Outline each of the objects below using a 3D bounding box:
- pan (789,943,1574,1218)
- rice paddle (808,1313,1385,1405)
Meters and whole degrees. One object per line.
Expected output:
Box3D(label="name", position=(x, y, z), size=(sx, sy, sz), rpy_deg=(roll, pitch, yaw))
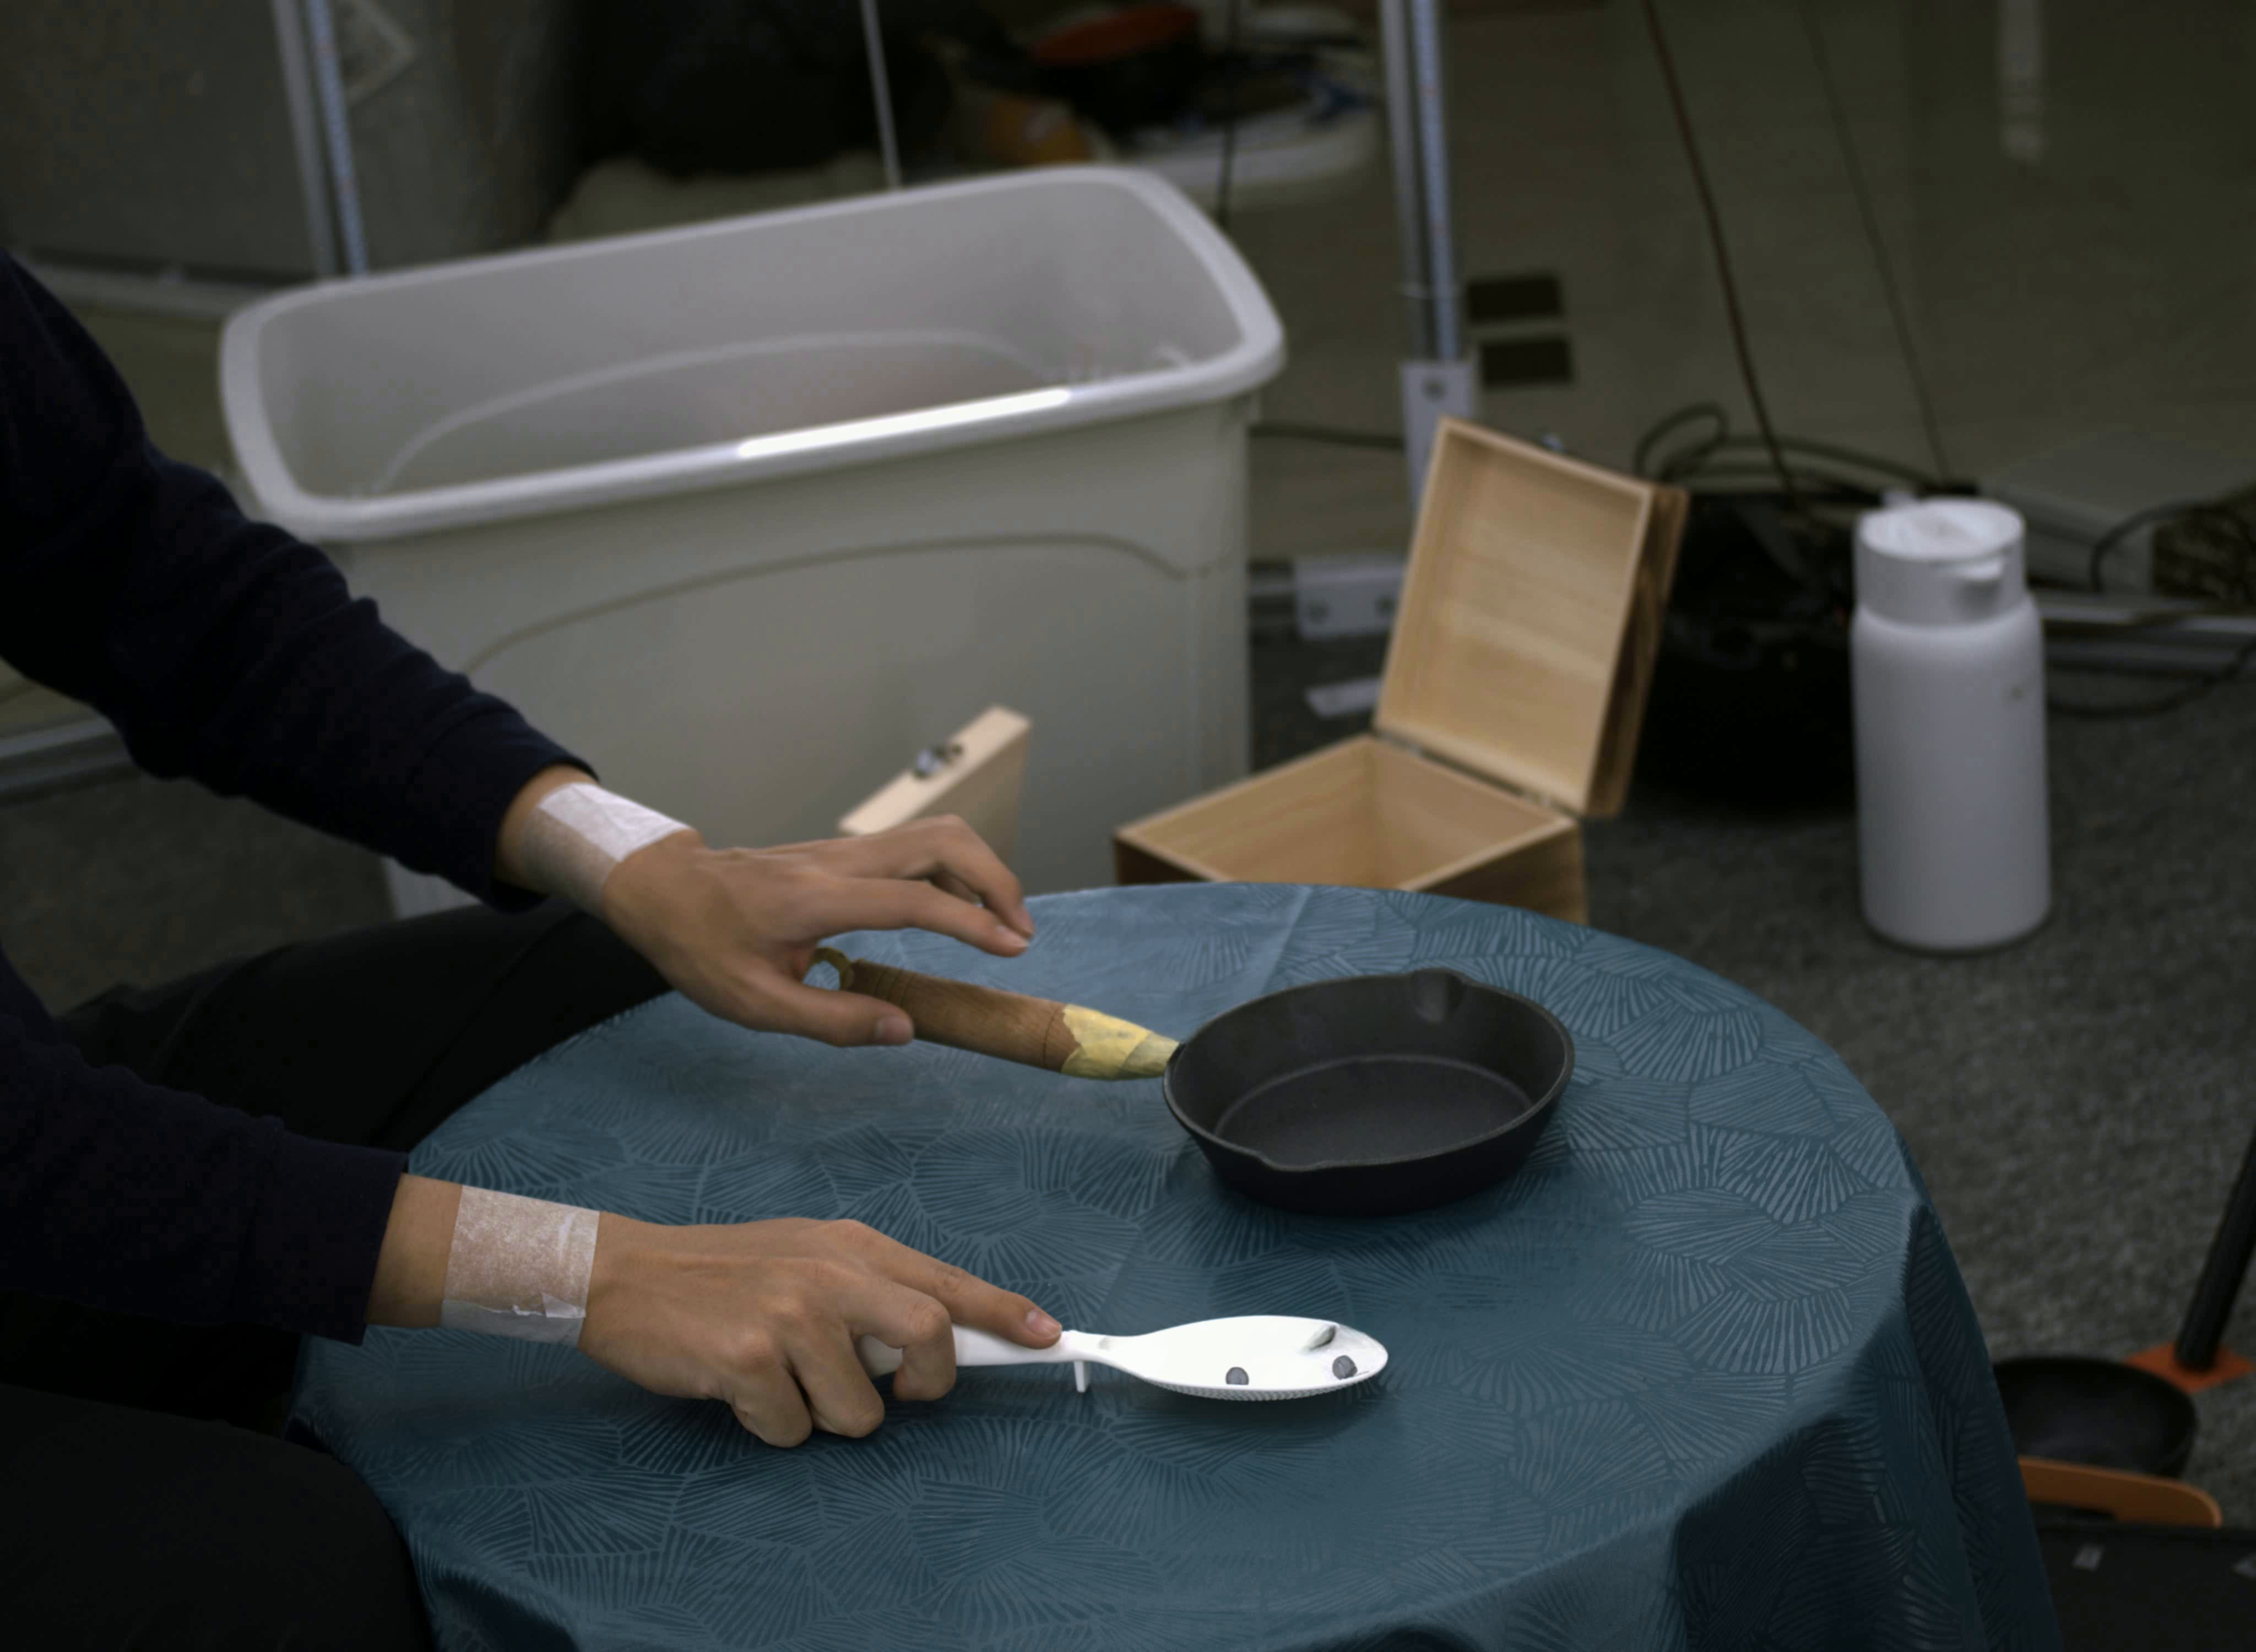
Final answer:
Box3D(label="pan", position=(0.016, 0.089, 2.190), size=(0.323, 0.050, 0.167), rpy_deg=(8, 29, 25))
Box3D(label="rice paddle", position=(-0.011, 0.189, 2.013), size=(0.205, 0.029, 0.068), rpy_deg=(0, 6, 7))
